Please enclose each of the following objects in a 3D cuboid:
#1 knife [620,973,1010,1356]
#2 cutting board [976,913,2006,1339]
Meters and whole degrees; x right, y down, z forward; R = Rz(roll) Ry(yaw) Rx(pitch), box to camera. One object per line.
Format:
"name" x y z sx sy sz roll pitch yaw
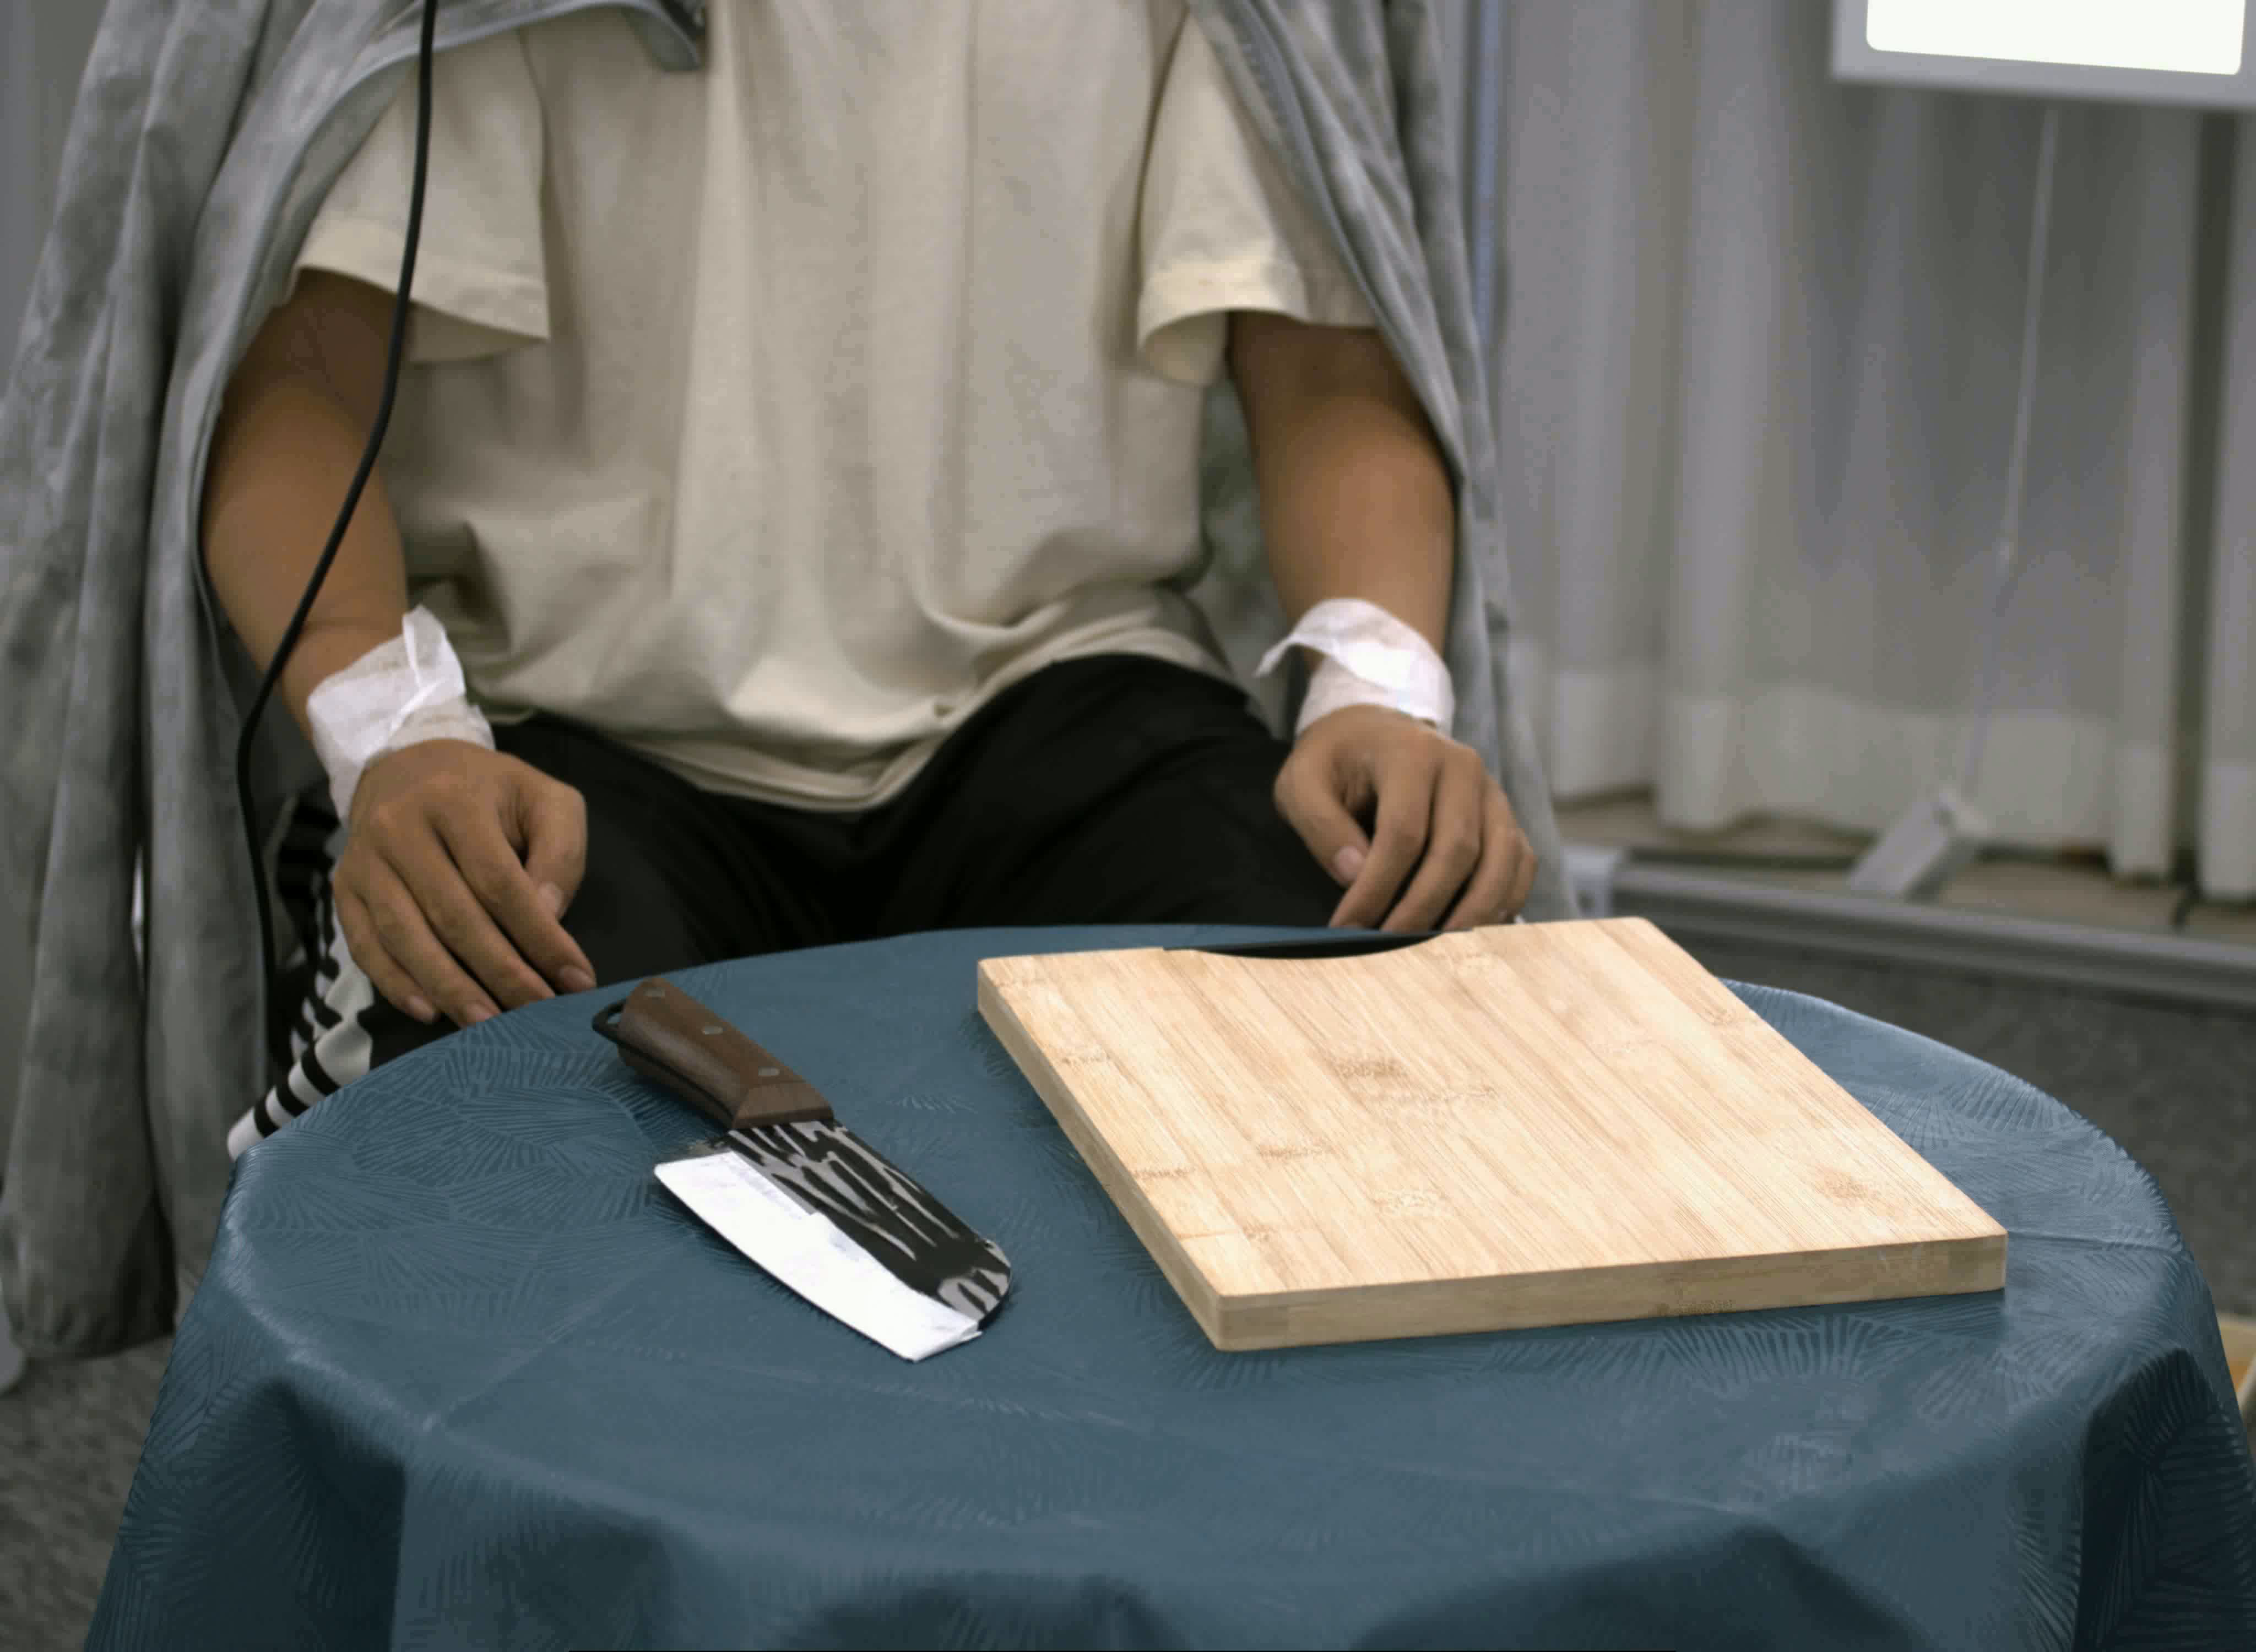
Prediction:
"knife" -0.109 0.103 1.618 0.068 0.024 0.295 -9 21 -25
"cutting board" 0.103 0.090 1.681 0.251 0.024 0.345 -3 16 -14
